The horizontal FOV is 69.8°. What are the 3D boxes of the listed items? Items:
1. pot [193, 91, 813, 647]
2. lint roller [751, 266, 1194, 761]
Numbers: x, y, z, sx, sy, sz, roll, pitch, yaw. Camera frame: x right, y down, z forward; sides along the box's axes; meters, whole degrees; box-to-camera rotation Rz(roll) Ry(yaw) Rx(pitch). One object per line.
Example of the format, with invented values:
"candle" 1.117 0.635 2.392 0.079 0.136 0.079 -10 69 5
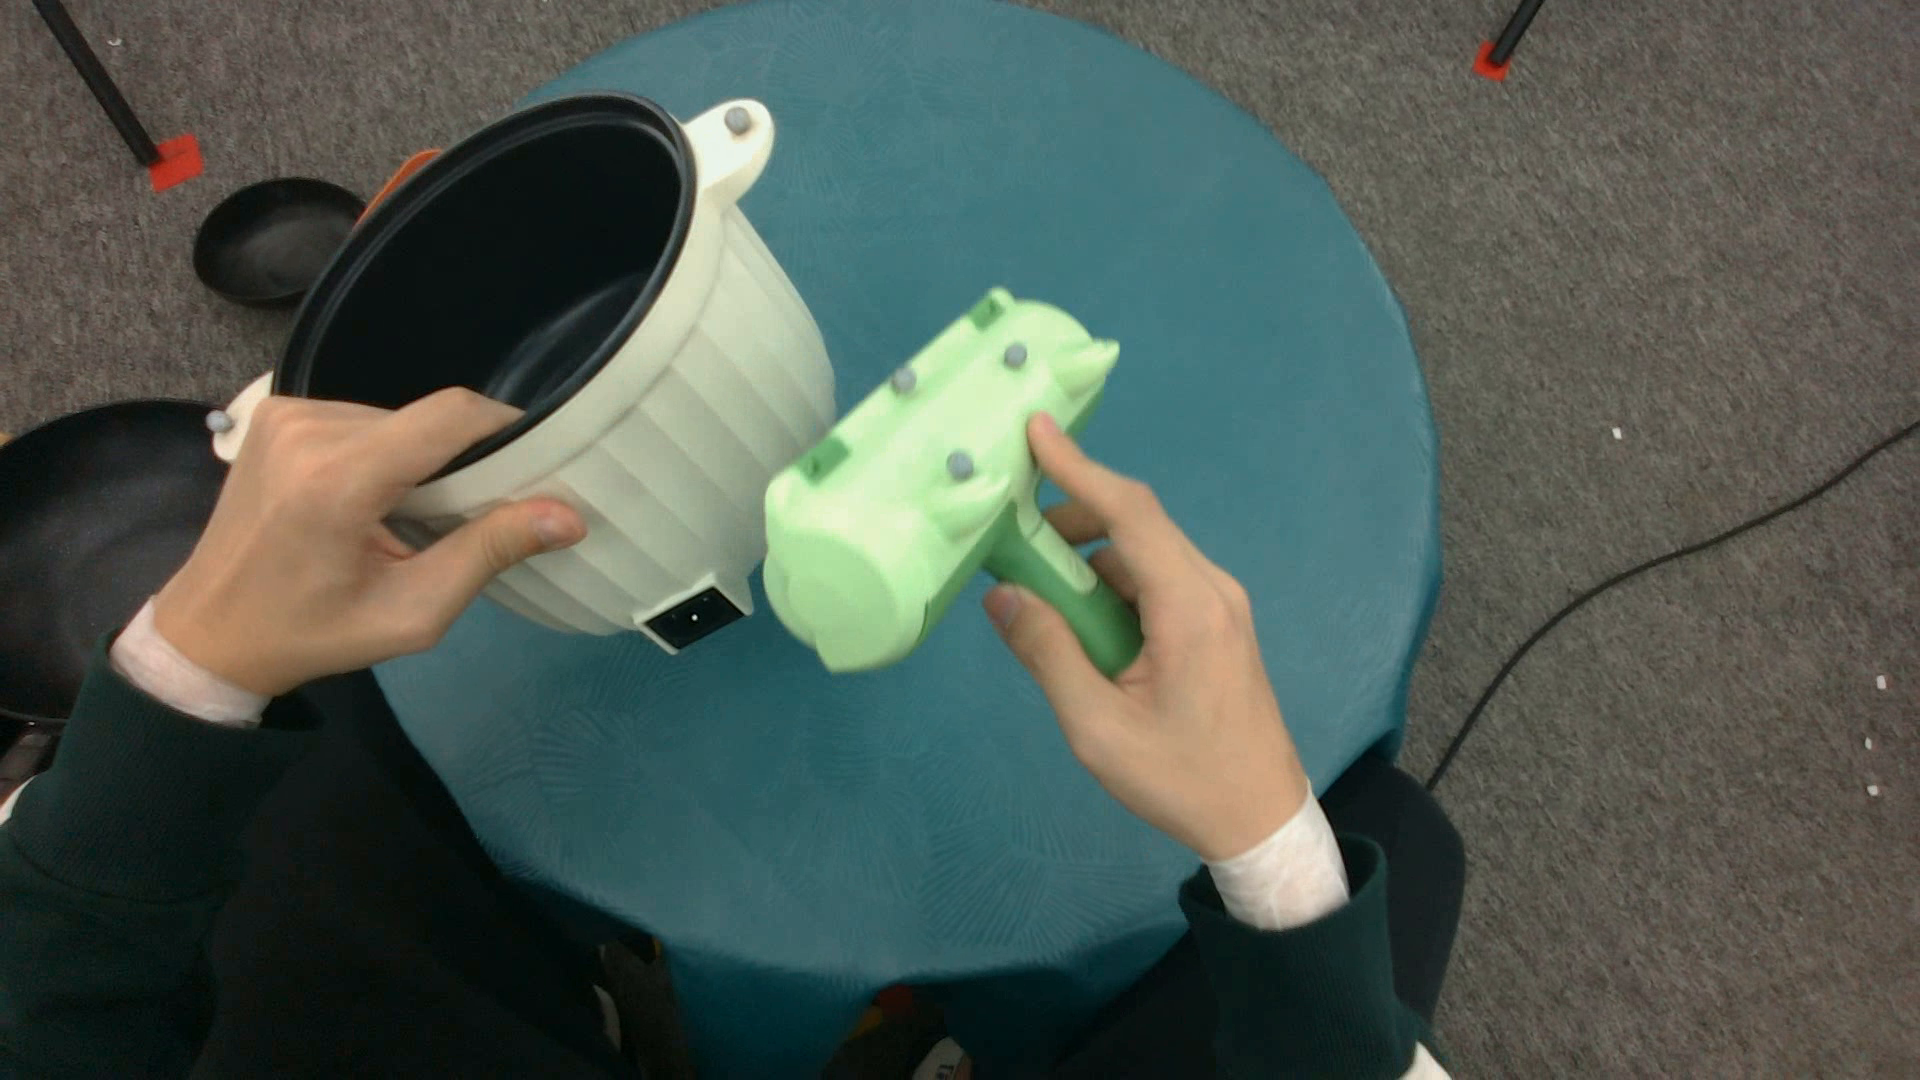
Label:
"pot" -0.157 -0.063 0.543 0.240 0.142 0.191 -29 53 6
"lint roller" 0.035 -0.001 0.479 0.183 0.082 0.199 43 35 -6
